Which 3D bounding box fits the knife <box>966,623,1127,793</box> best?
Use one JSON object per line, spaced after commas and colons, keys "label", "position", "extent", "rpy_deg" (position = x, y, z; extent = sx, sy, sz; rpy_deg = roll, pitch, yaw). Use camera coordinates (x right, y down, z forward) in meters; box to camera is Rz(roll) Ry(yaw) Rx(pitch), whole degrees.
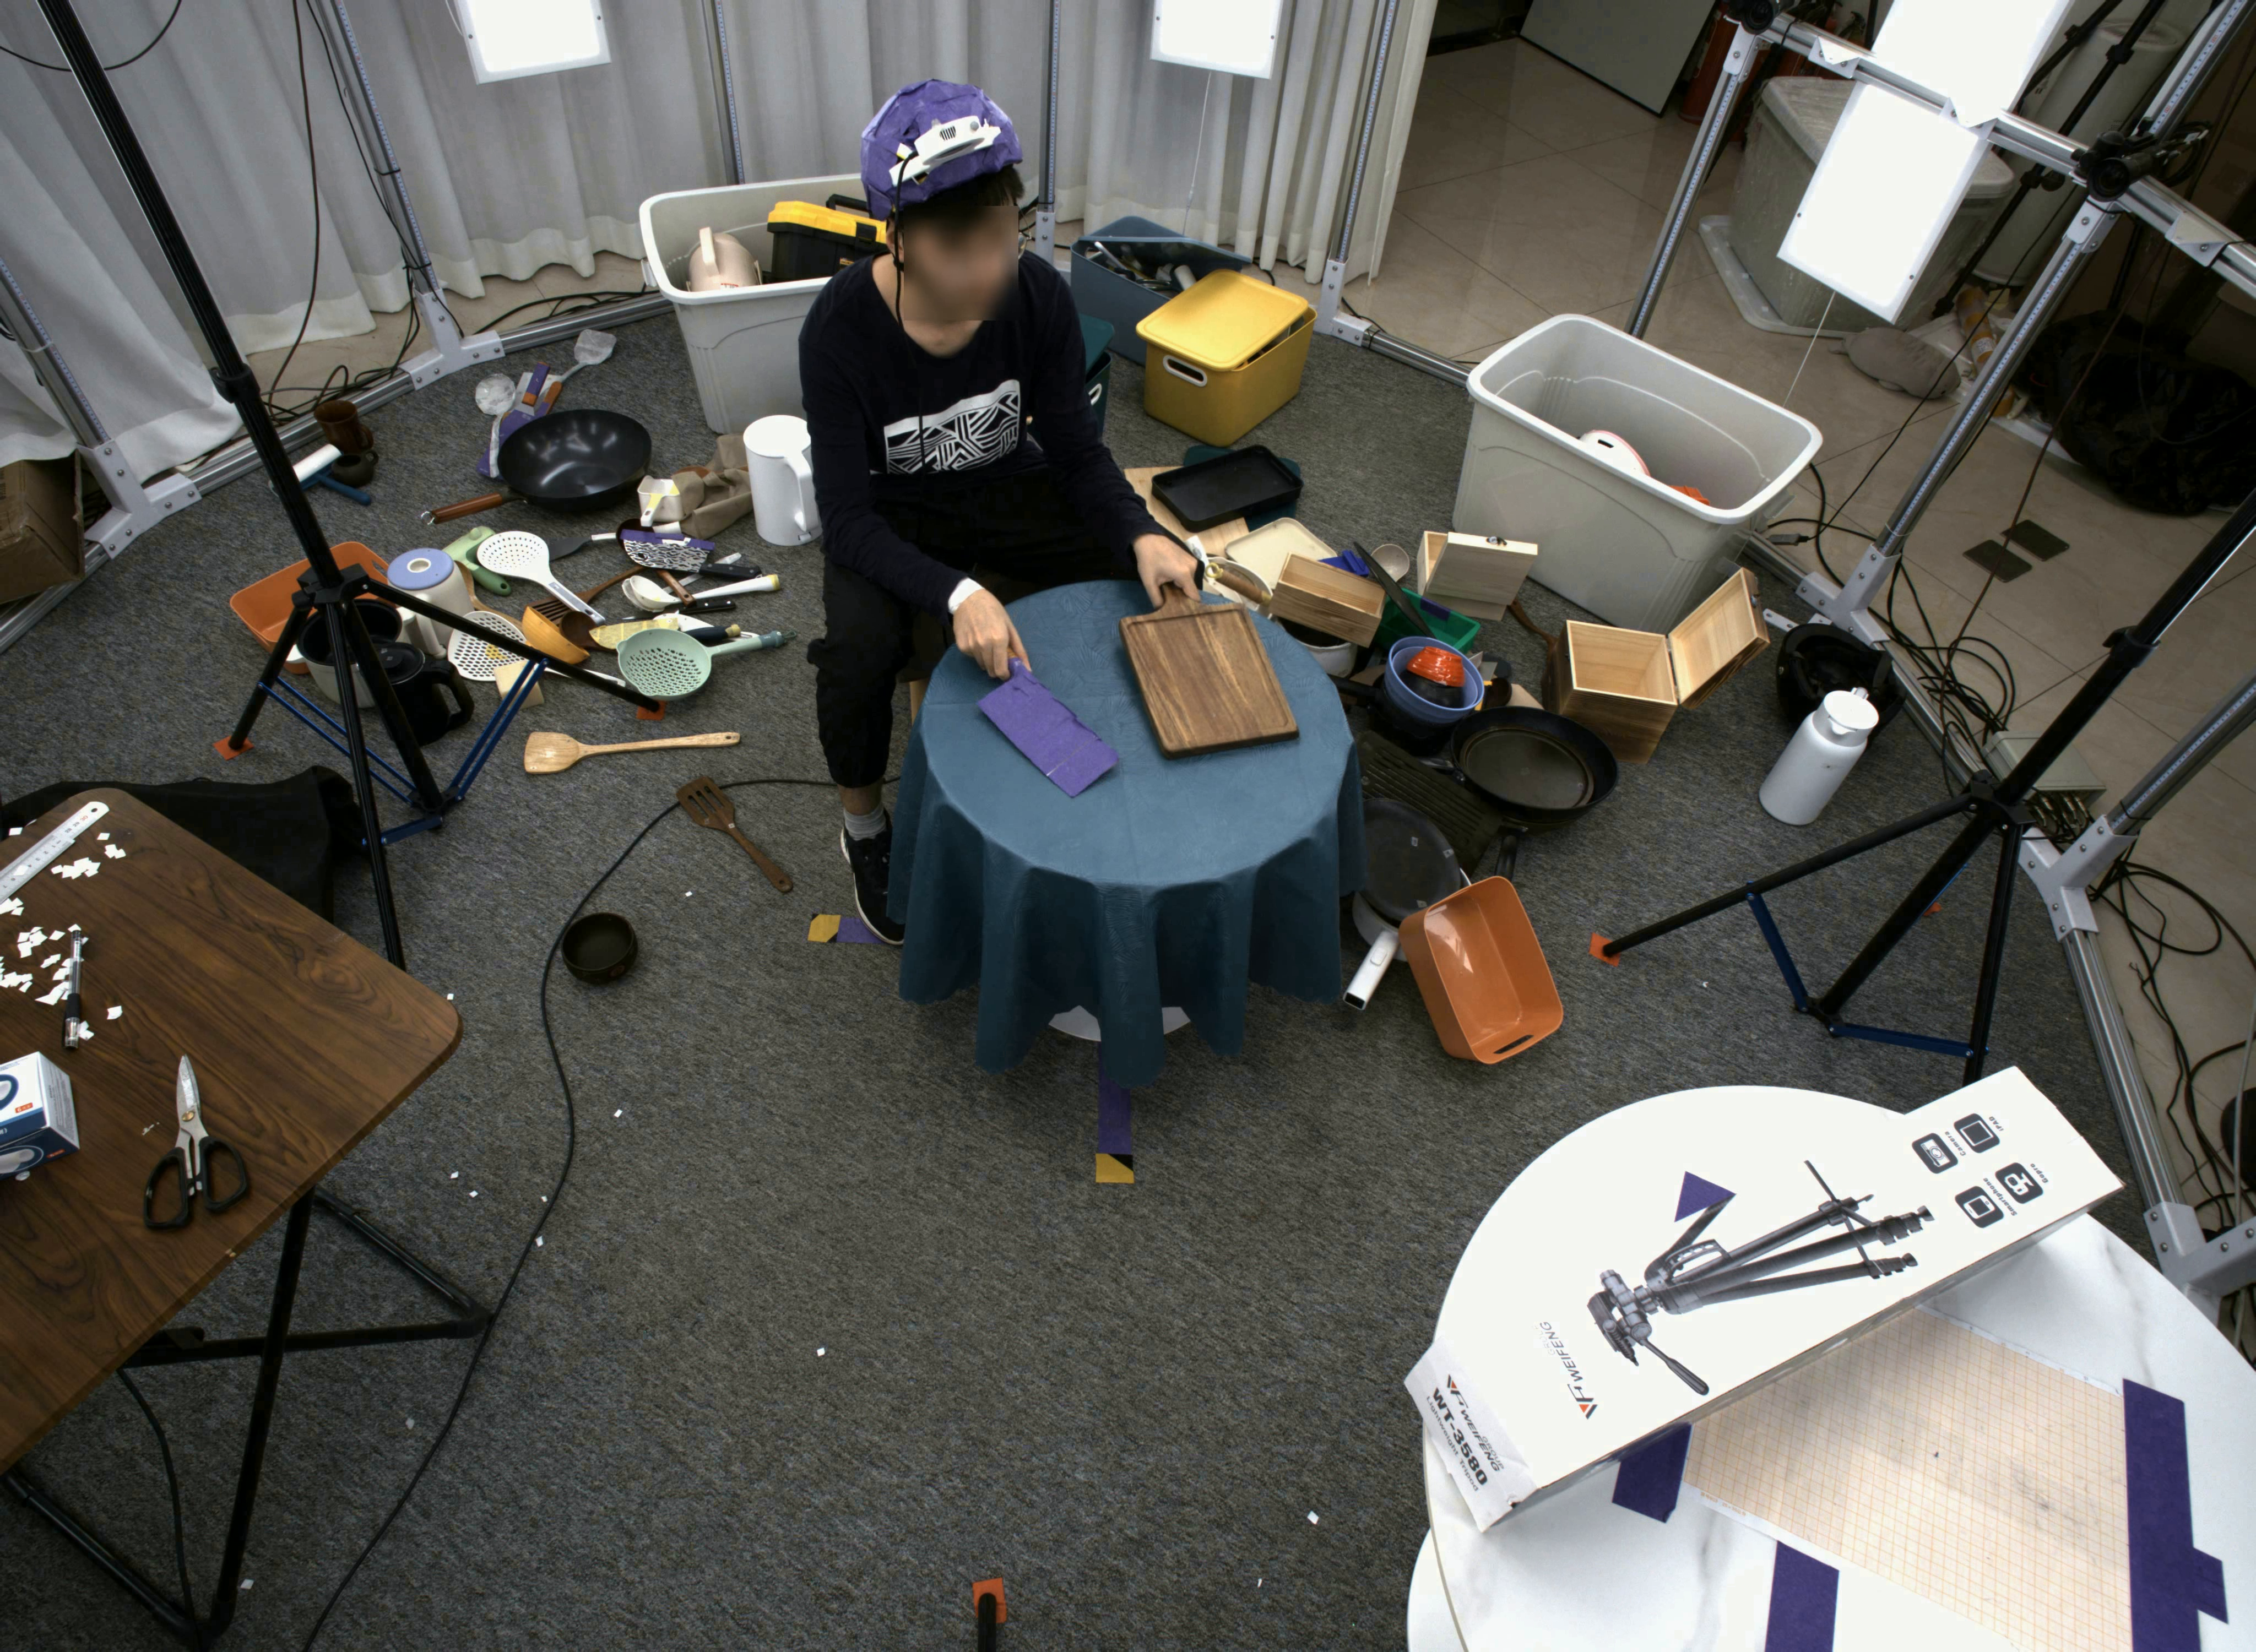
{"label": "knife", "position": [-0.141, -0.166, 1.770], "extent": [0.104, 0.031, 0.320], "rpy_deg": [-36, 62, -21]}

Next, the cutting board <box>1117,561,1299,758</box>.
{"label": "cutting board", "position": [0.098, -0.254, 1.859], "extent": [0.201, 0.022, 0.360], "rpy_deg": [-10, 56, -12]}
